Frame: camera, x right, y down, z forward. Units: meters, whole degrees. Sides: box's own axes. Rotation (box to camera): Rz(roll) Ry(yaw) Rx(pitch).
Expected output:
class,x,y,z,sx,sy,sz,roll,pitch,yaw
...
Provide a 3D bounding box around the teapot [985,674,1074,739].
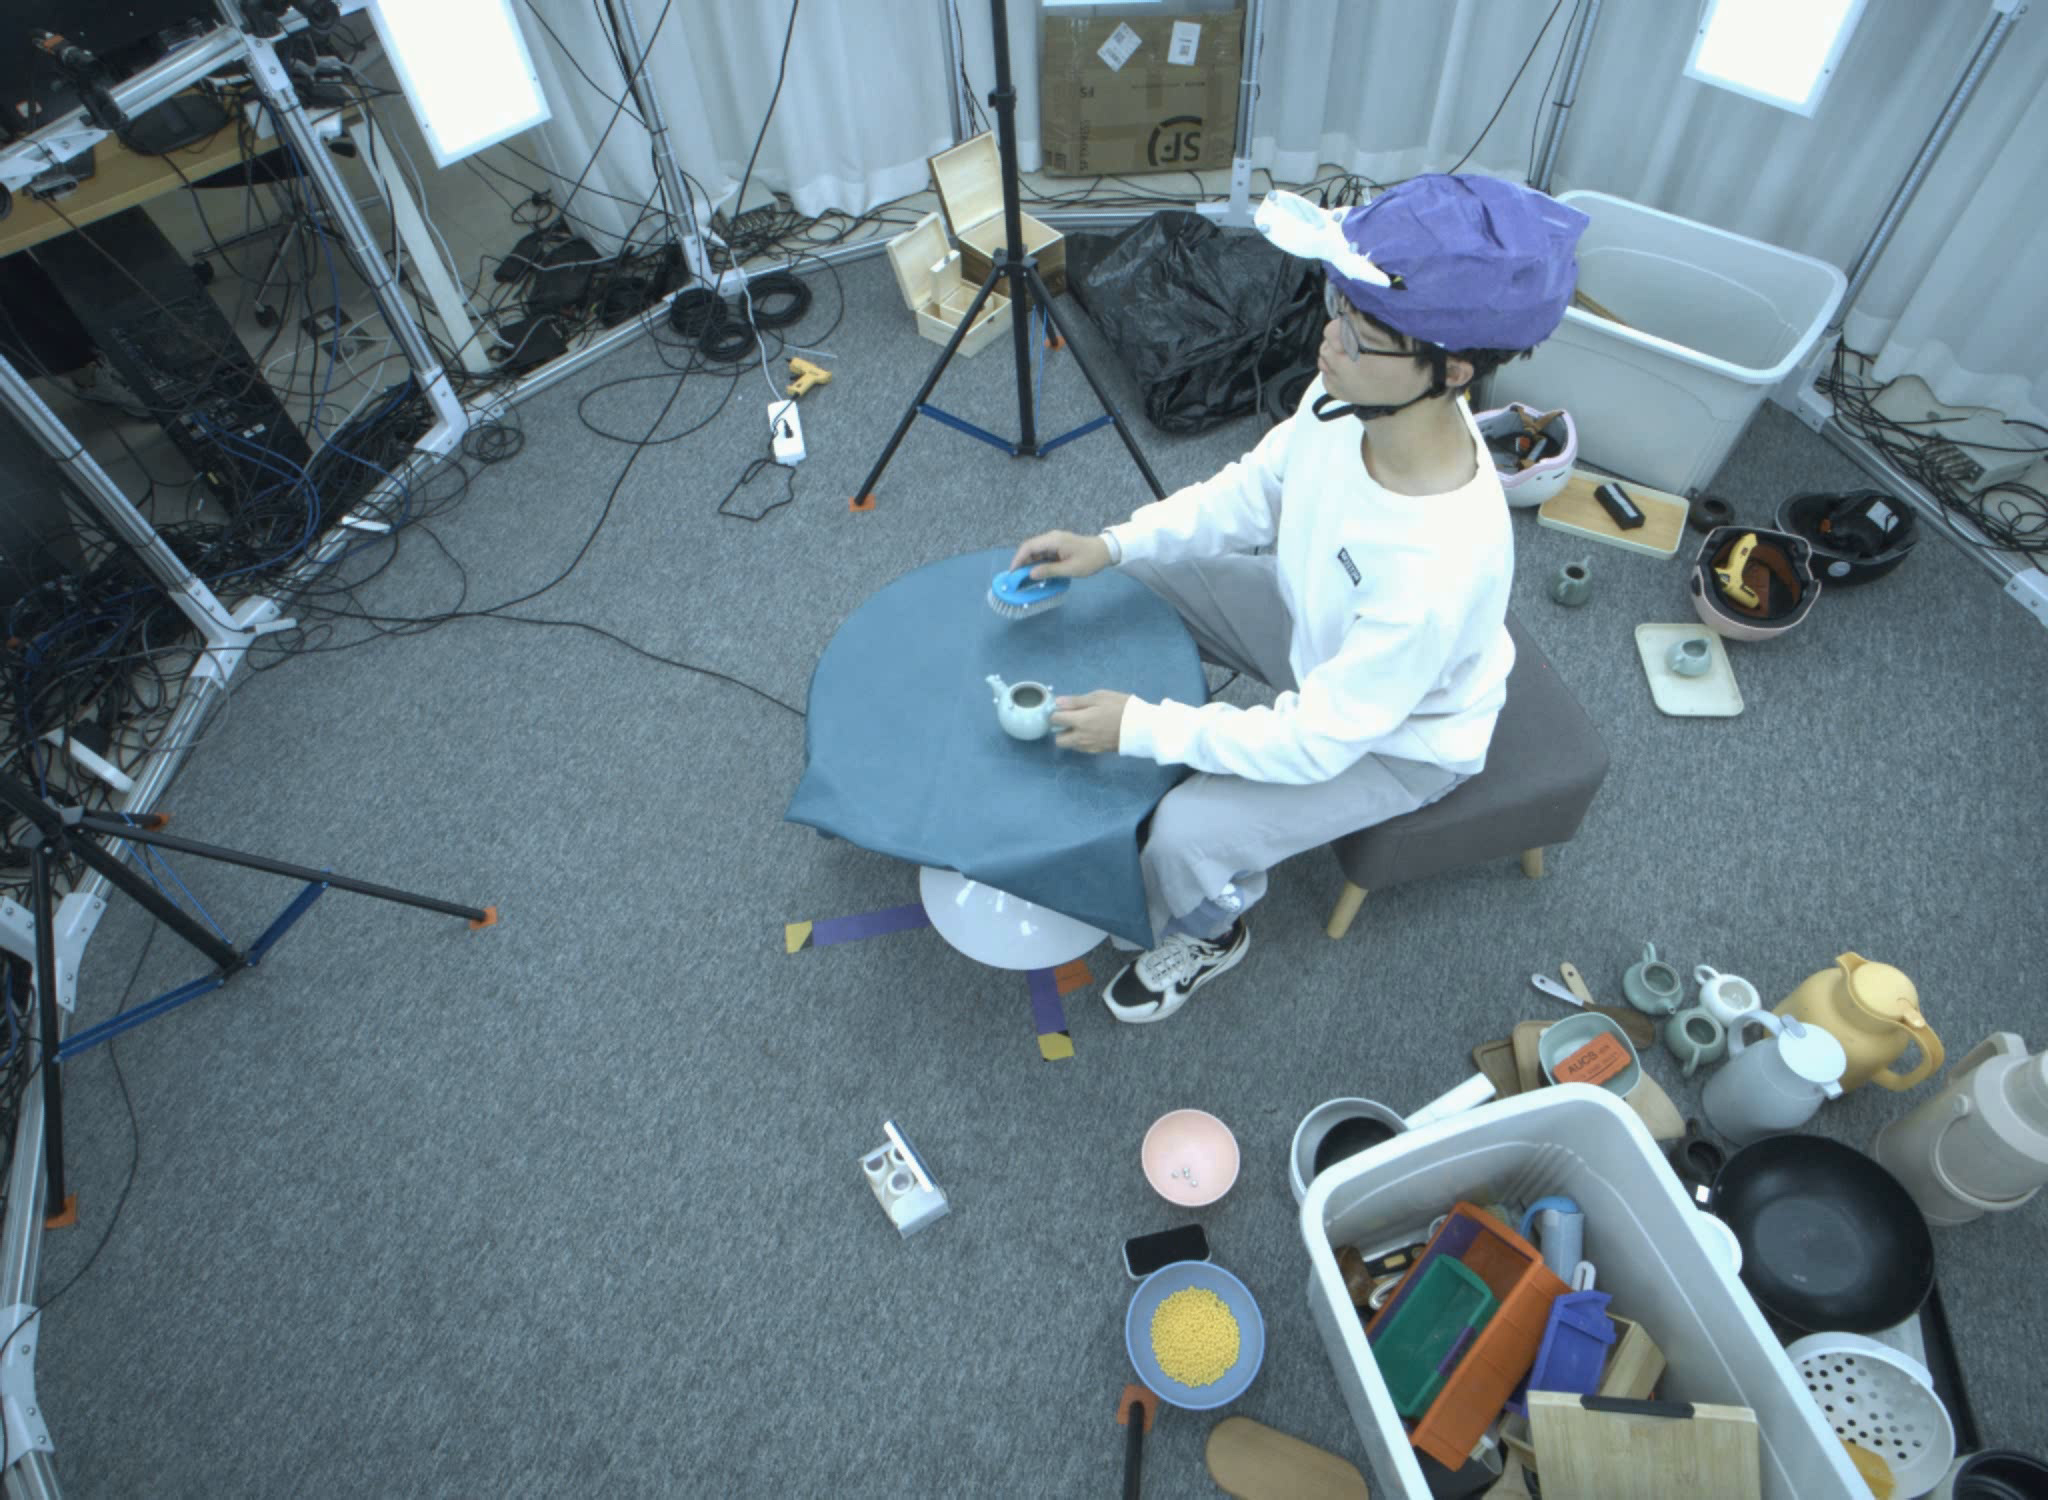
class,x,y,z,sx,sy,sz,roll,pitch,yaw
teapot,0.007,-0.058,1.760,0.141,0.075,0.089,23,48,24

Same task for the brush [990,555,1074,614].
class,x,y,z,sx,sy,sz,roll,pitch,yaw
brush,0.012,-0.260,1.864,0.144,0.064,0.083,-23,53,-36
